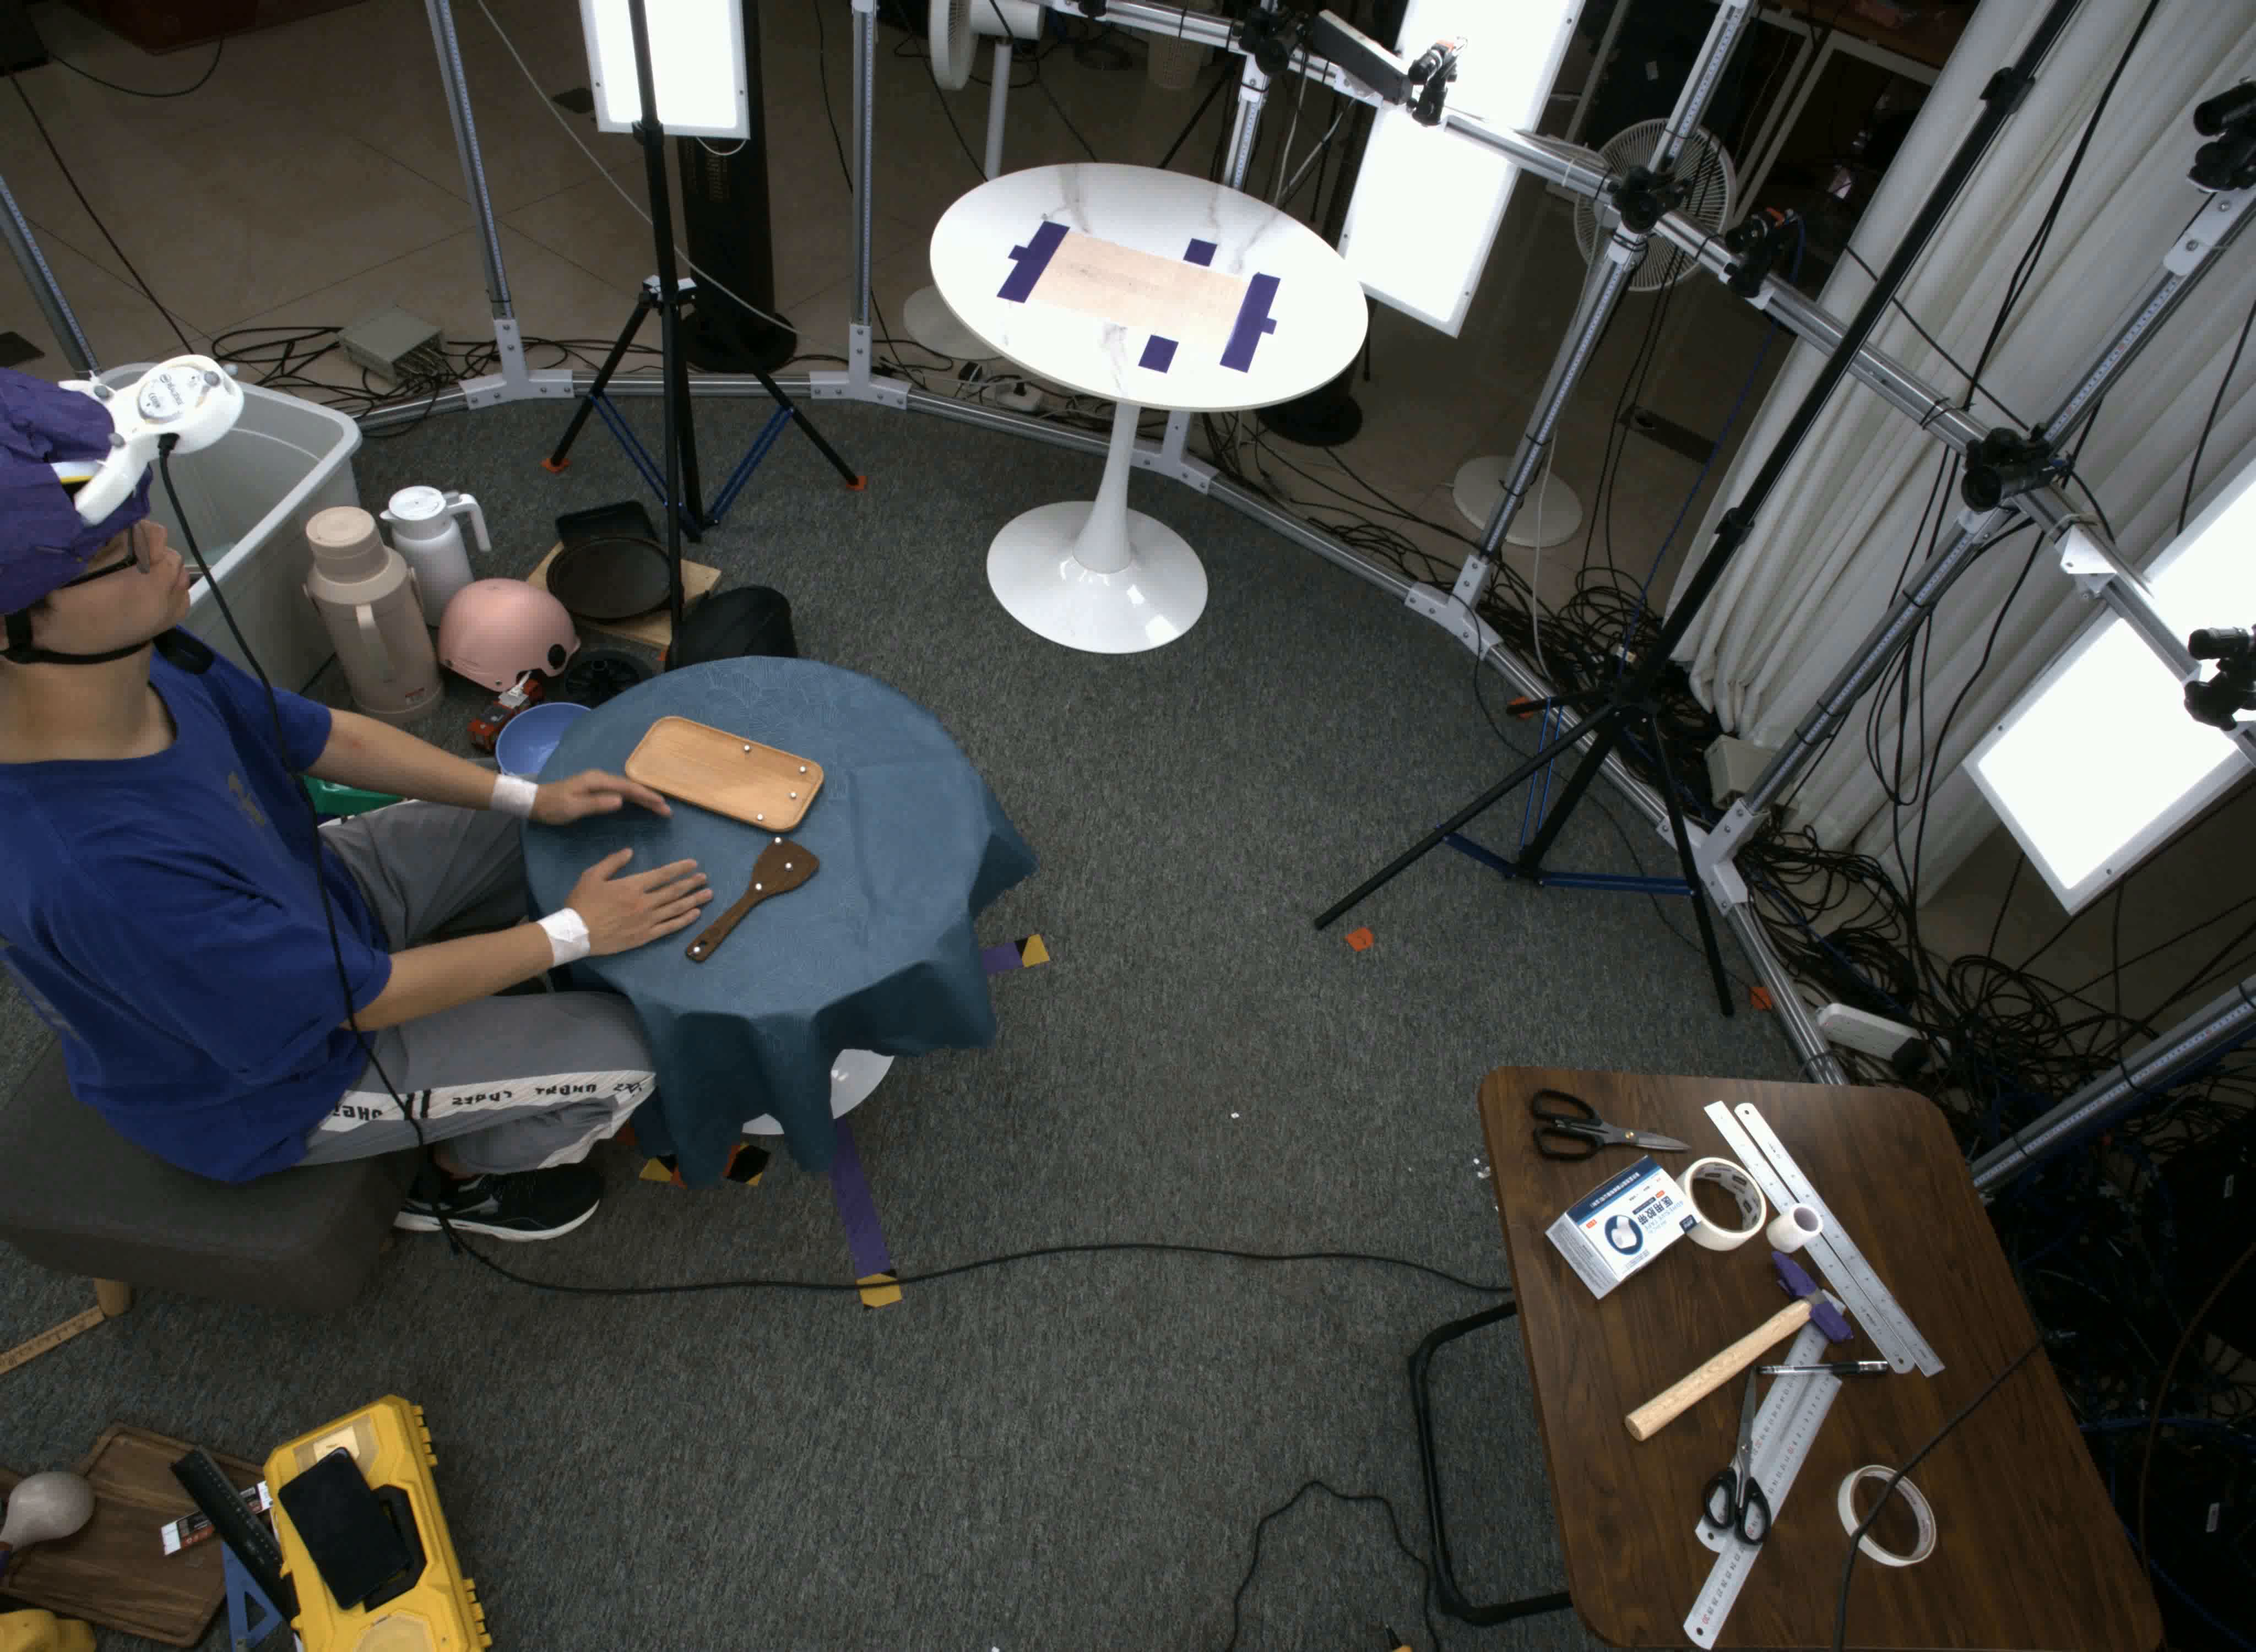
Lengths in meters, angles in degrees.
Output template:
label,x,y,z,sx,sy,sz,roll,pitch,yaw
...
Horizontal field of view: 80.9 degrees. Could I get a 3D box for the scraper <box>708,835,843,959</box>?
label,x,y,z,sx,sy,sz,roll,pitch,yaw
scraper,-0.456,0.091,1.653,0.074,0.011,0.211,32,54,11

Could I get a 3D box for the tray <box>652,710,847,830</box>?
label,x,y,z,sx,sy,sz,roll,pitch,yaw
tray,-0.514,-0.077,1.758,0.248,0.023,0.129,20,49,2
